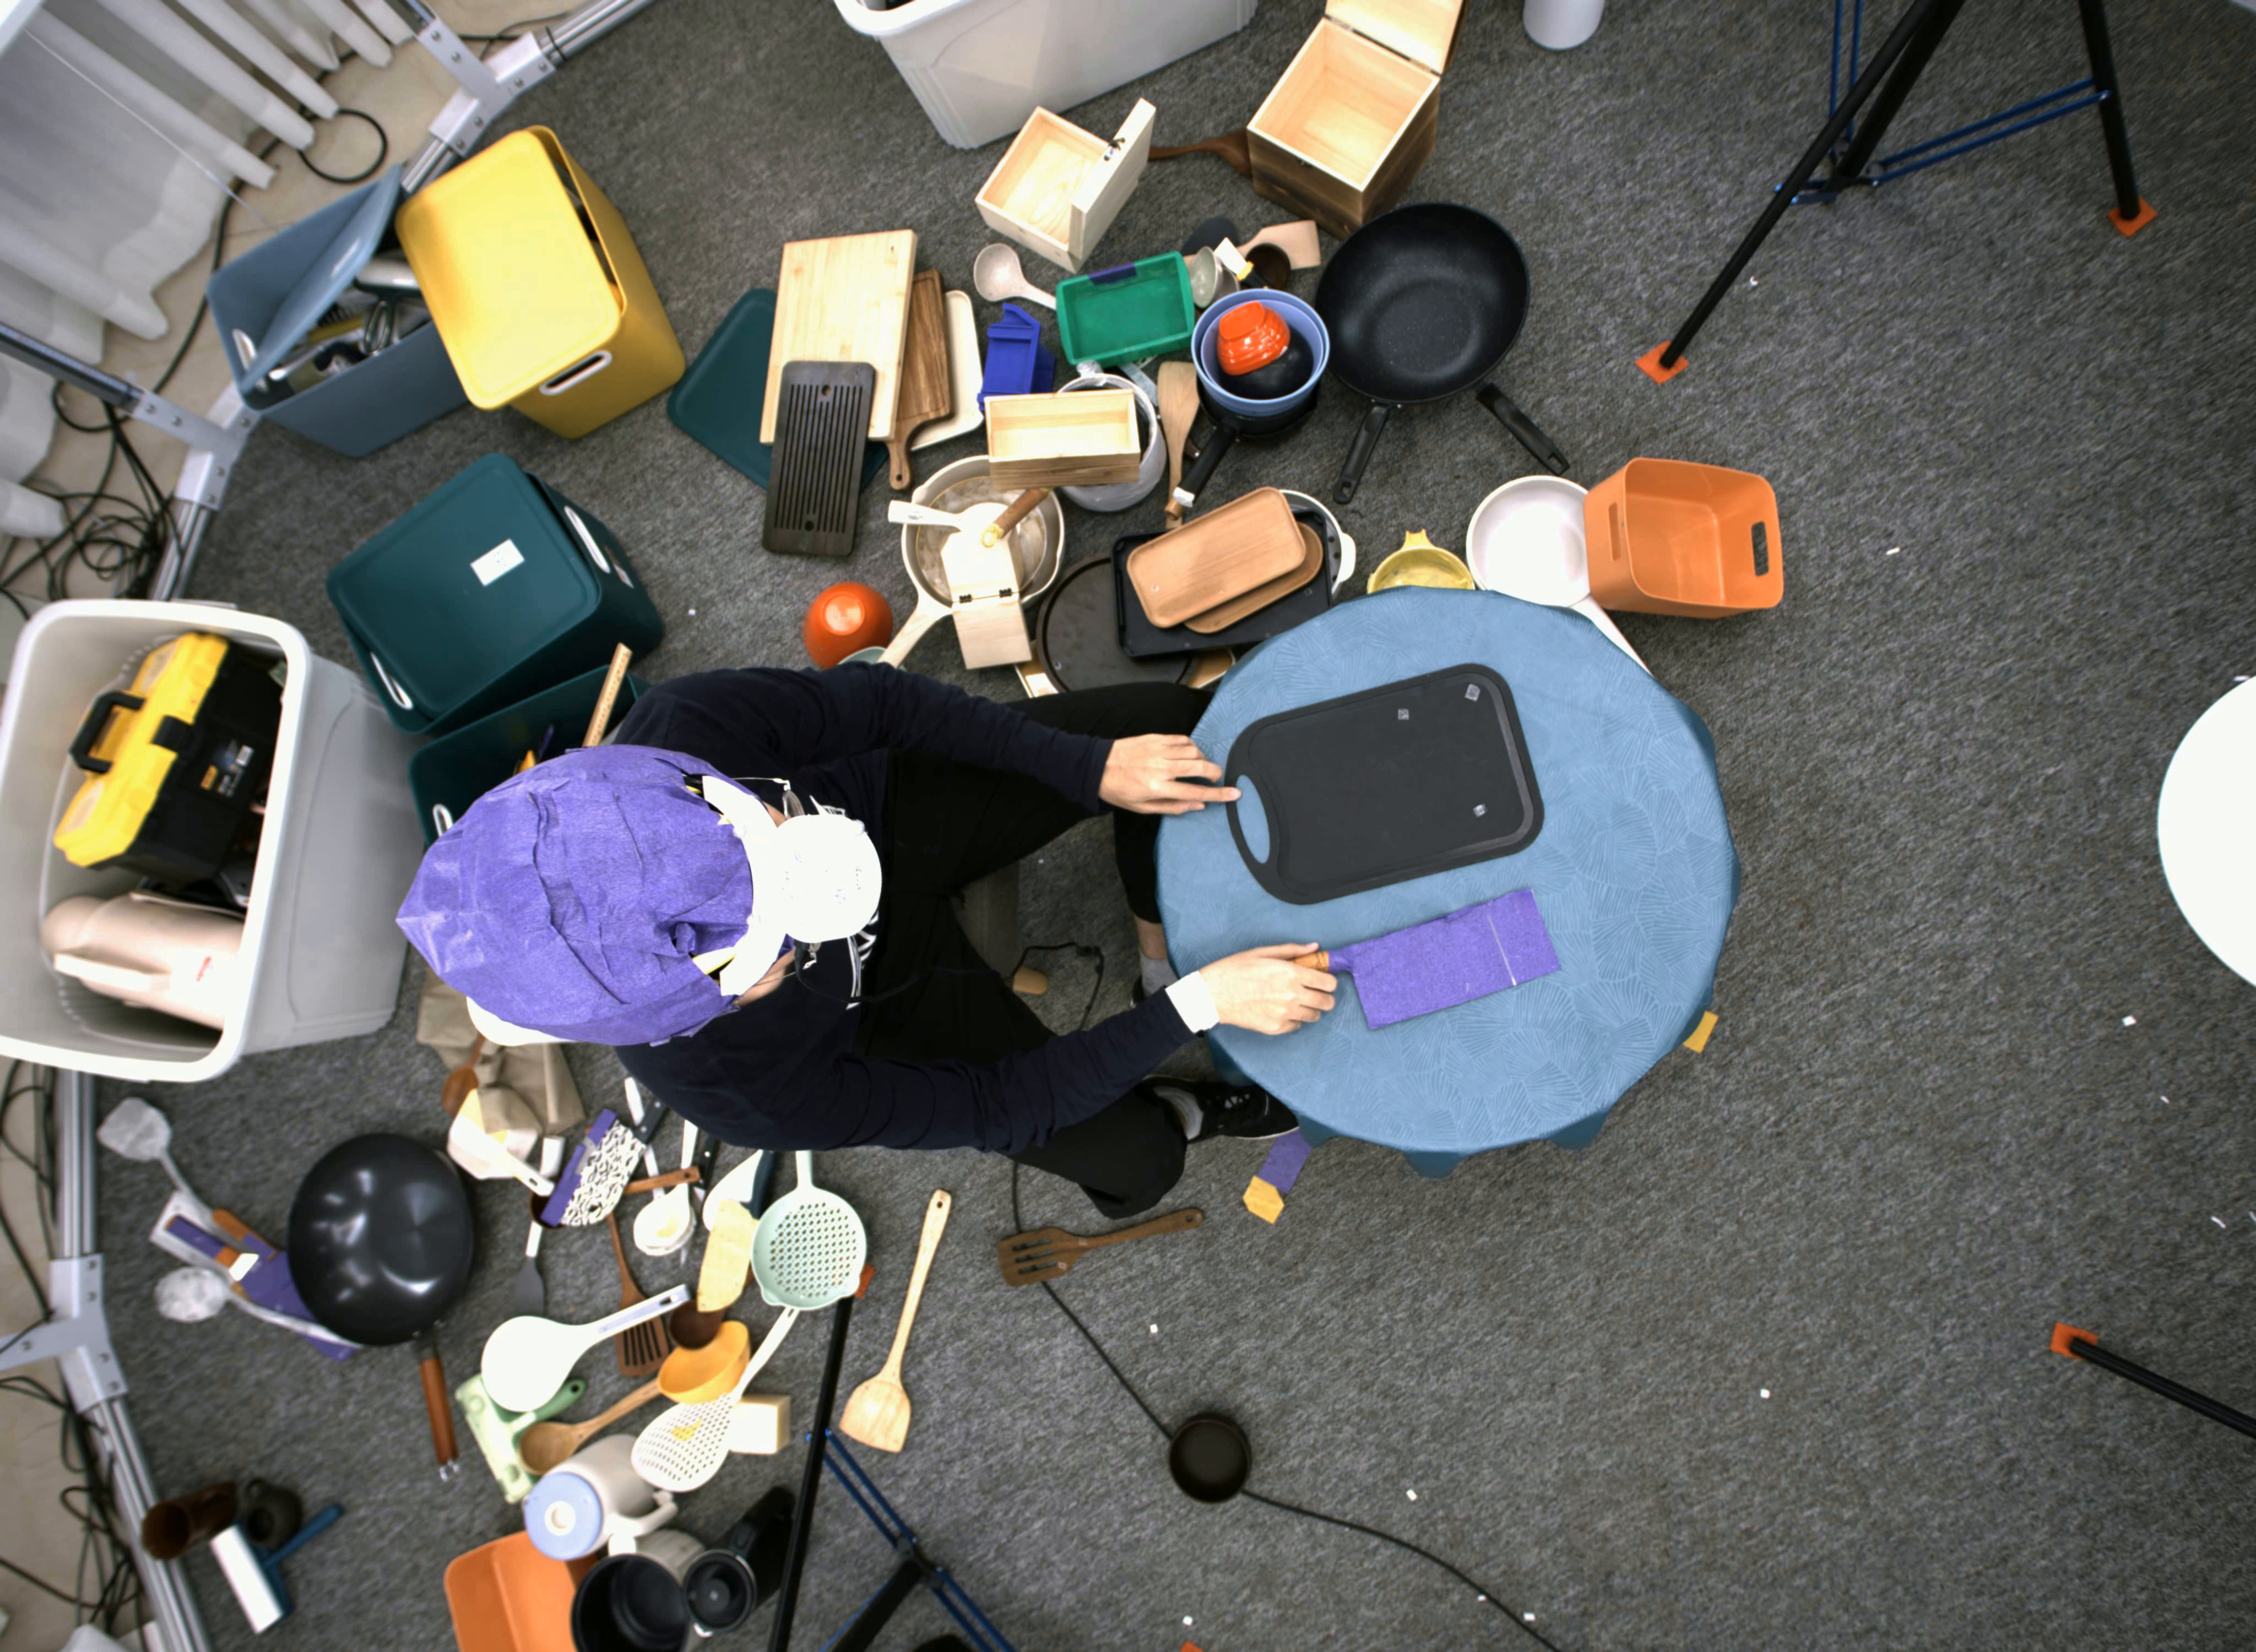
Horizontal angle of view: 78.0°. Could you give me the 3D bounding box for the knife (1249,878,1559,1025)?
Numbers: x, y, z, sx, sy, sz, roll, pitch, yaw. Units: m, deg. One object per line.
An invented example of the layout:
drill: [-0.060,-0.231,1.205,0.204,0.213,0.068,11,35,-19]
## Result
knife: [0.288,0.150,1.439,0.317,0.032,0.103,-19,83,9]

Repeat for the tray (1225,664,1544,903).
tray: [0.265,-0.043,1.464,0.327,0.010,0.210,-14,84,10]
